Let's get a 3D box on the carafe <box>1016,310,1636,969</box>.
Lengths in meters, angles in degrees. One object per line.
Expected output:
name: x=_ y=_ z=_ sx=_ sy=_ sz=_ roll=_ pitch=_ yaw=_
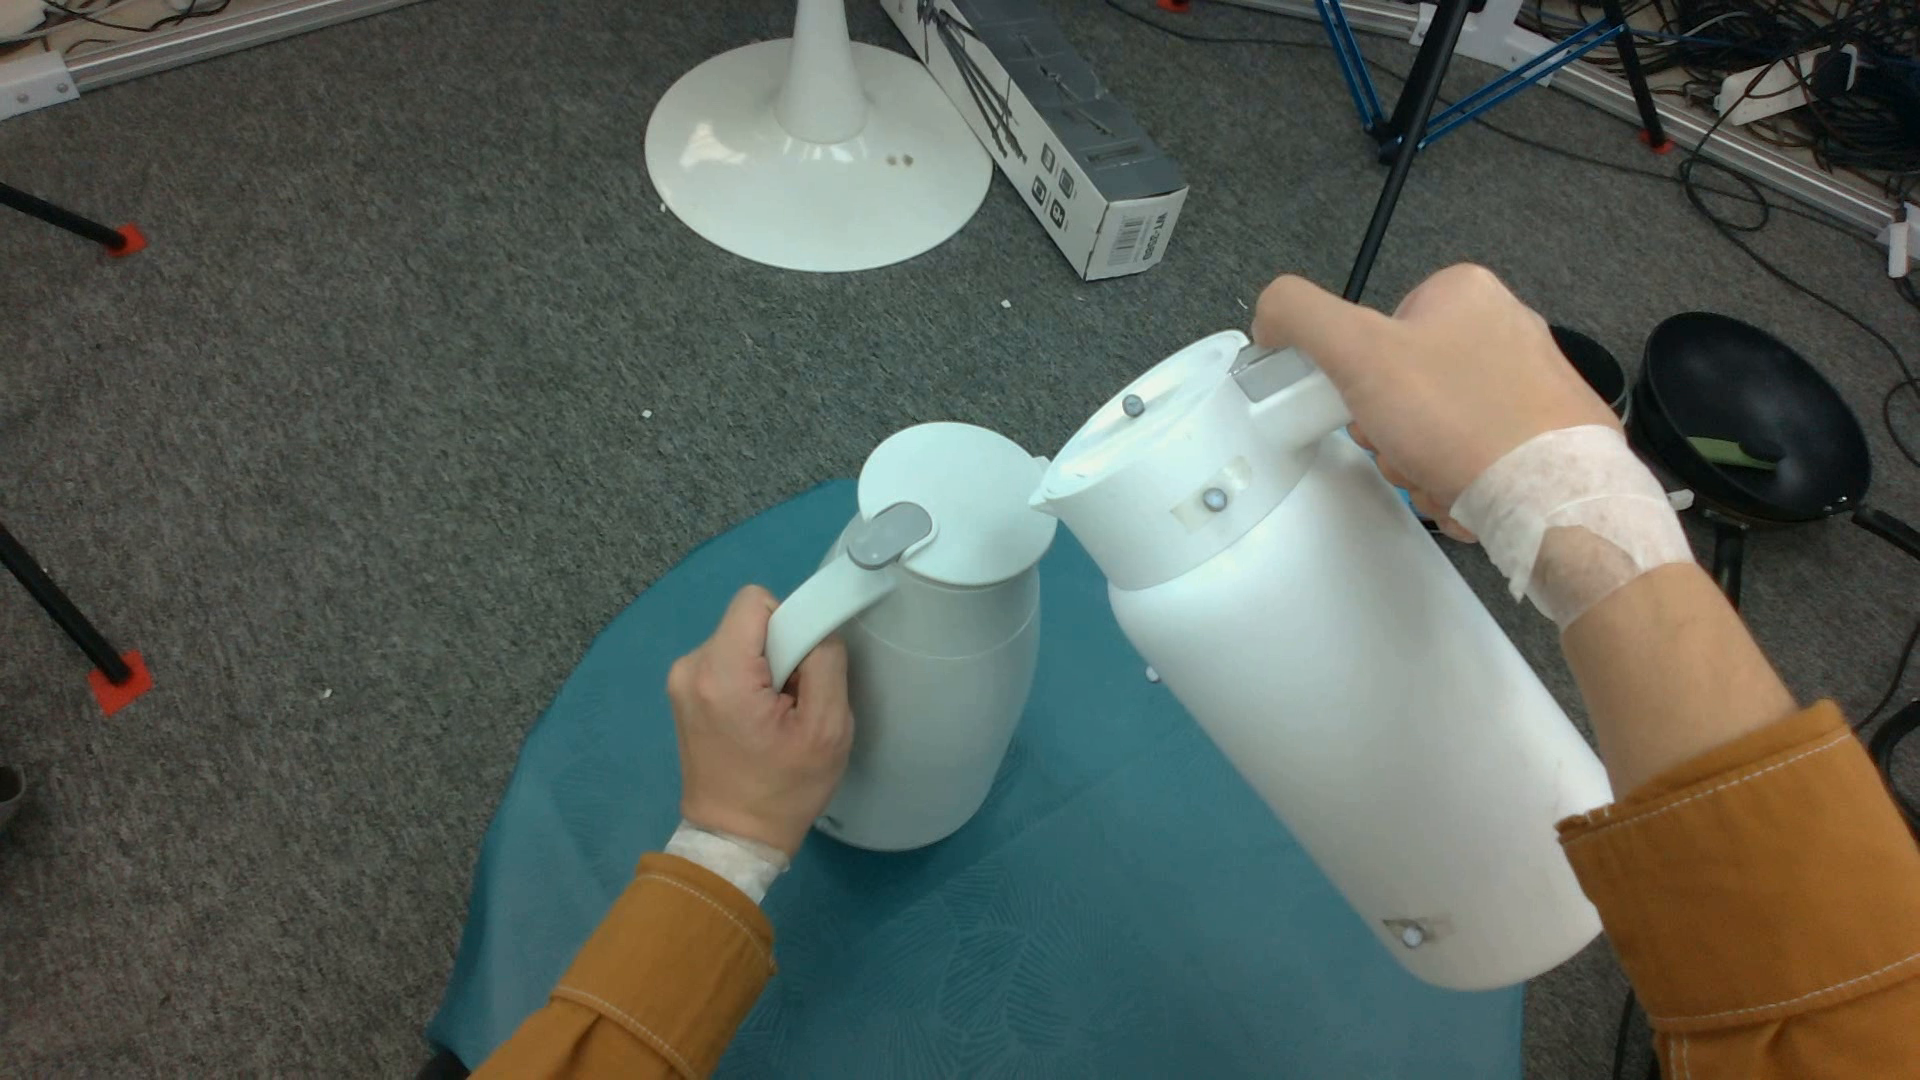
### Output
carafe: x=0.163 y=0.036 z=0.546 sx=0.268 sy=0.172 sz=0.124 roll=51 pitch=42 yaw=-12

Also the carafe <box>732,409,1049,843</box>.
carafe: x=-0.039 y=0.053 z=0.696 sx=0.168 sy=0.247 sz=0.132 roll=-28 pitch=65 yaw=-28
